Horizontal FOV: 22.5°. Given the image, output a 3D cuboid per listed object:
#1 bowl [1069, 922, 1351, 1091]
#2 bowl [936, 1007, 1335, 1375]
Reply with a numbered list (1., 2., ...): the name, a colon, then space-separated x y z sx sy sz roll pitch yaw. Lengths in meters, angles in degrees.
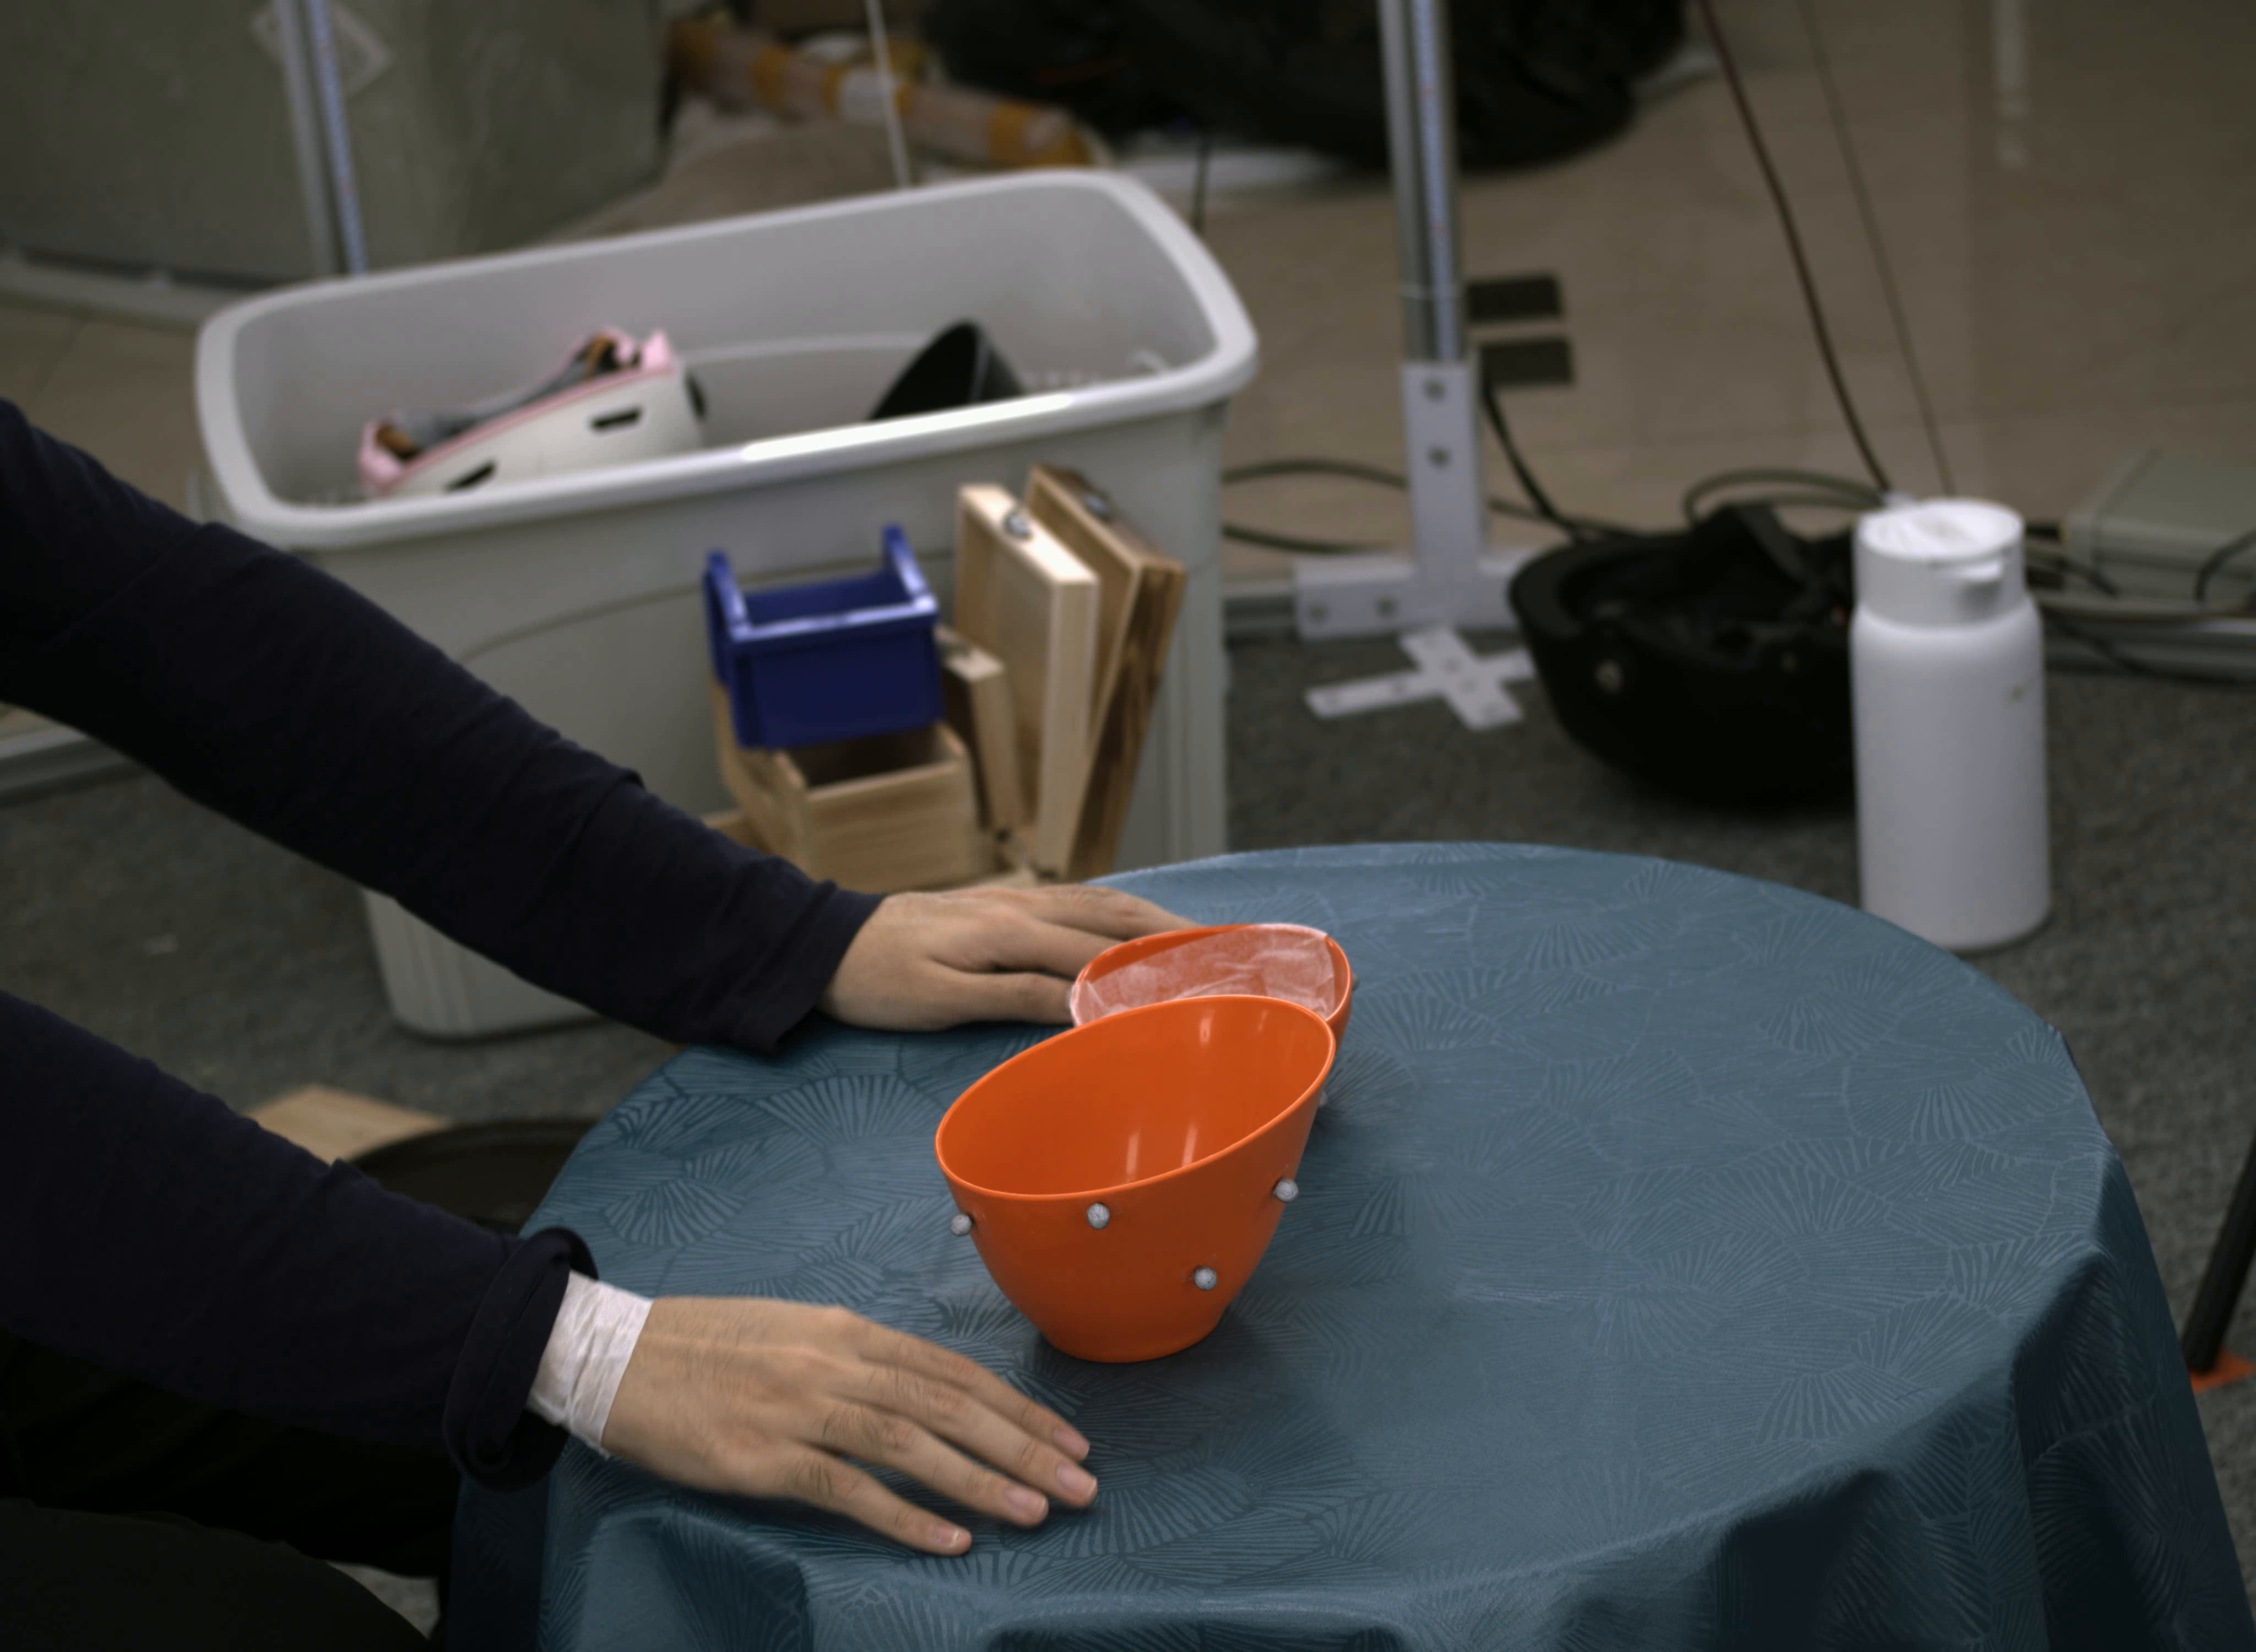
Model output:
1. bowl: 0.034 0.085 2.201 0.119 0.052 0.117 -7 26 3
2. bowl: 0.008 0.136 2.040 0.148 0.106 0.146 -7 24 3
